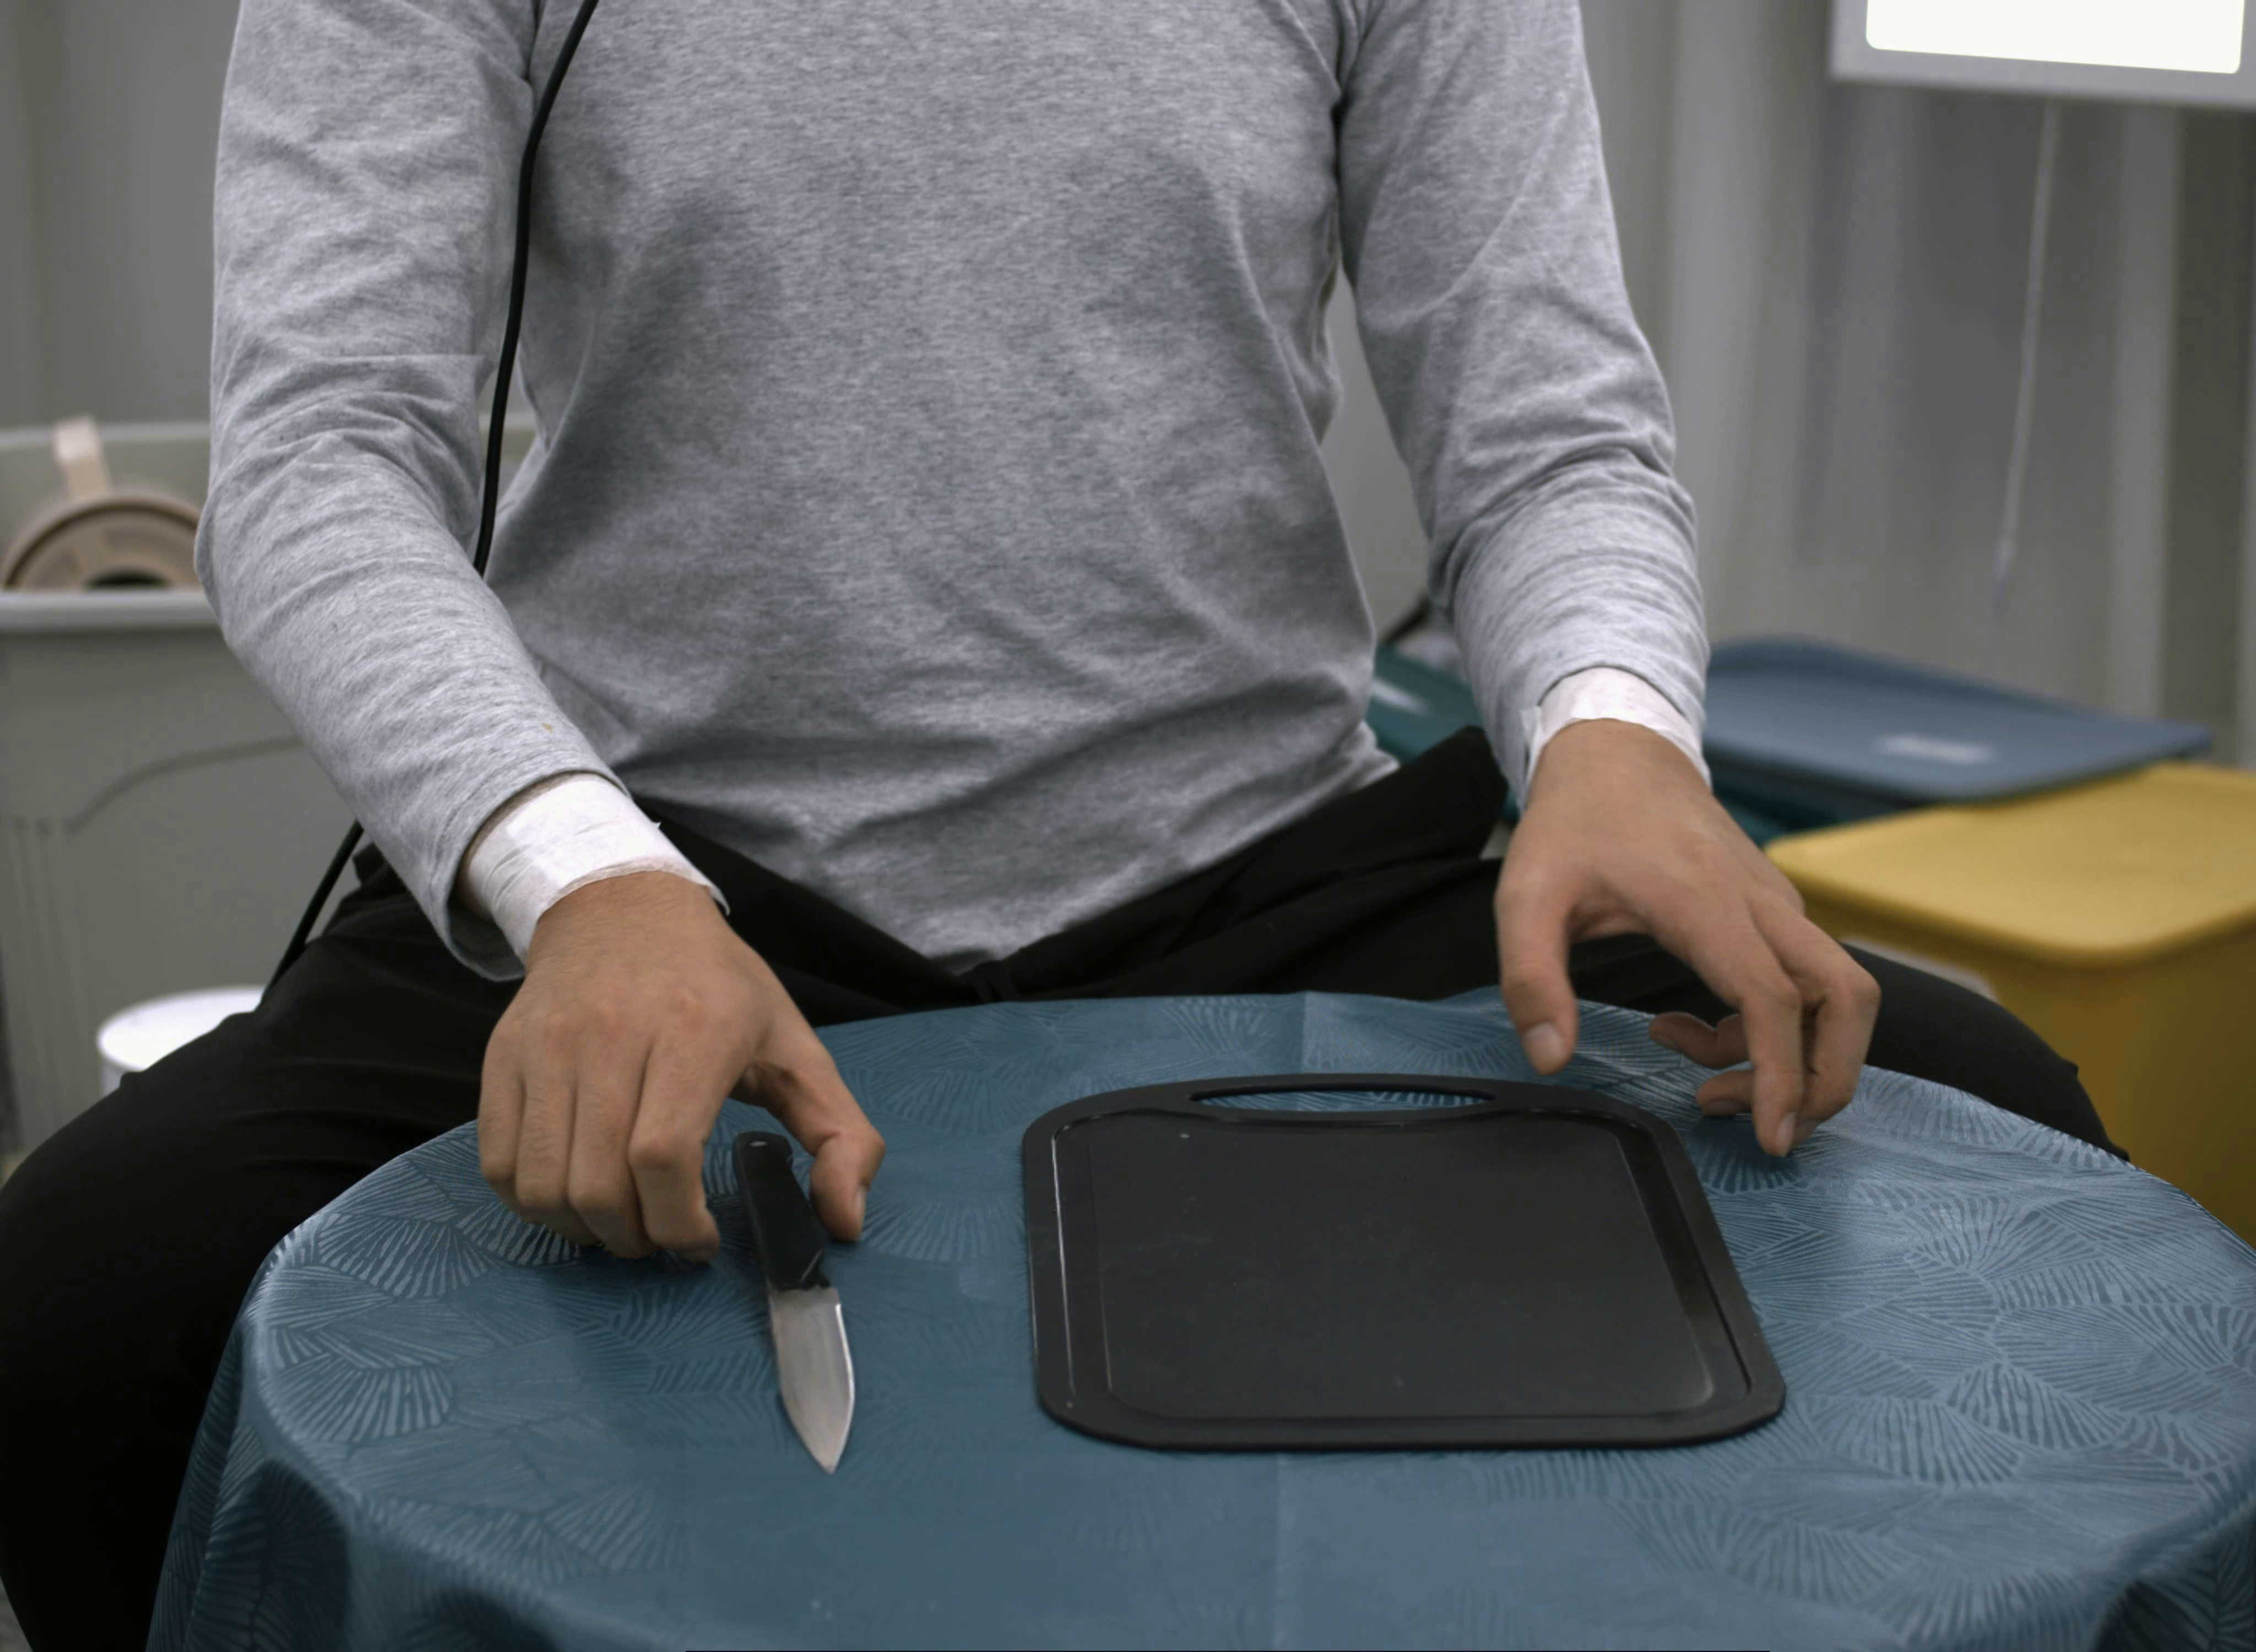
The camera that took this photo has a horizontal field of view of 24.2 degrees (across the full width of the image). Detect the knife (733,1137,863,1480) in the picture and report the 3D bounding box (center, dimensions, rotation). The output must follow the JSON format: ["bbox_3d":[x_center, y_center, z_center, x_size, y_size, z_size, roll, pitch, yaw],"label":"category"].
[{"bbox_3d":[-0.096,0.137,1.511,0.024,0.016,0.236,-3,18,-8],"label":"knife"}]

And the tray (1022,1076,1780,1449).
[{"bbox_3d":[0.073,0.124,1.576,0.210,0.010,0.323,0,15,-2],"label":"tray"}]
